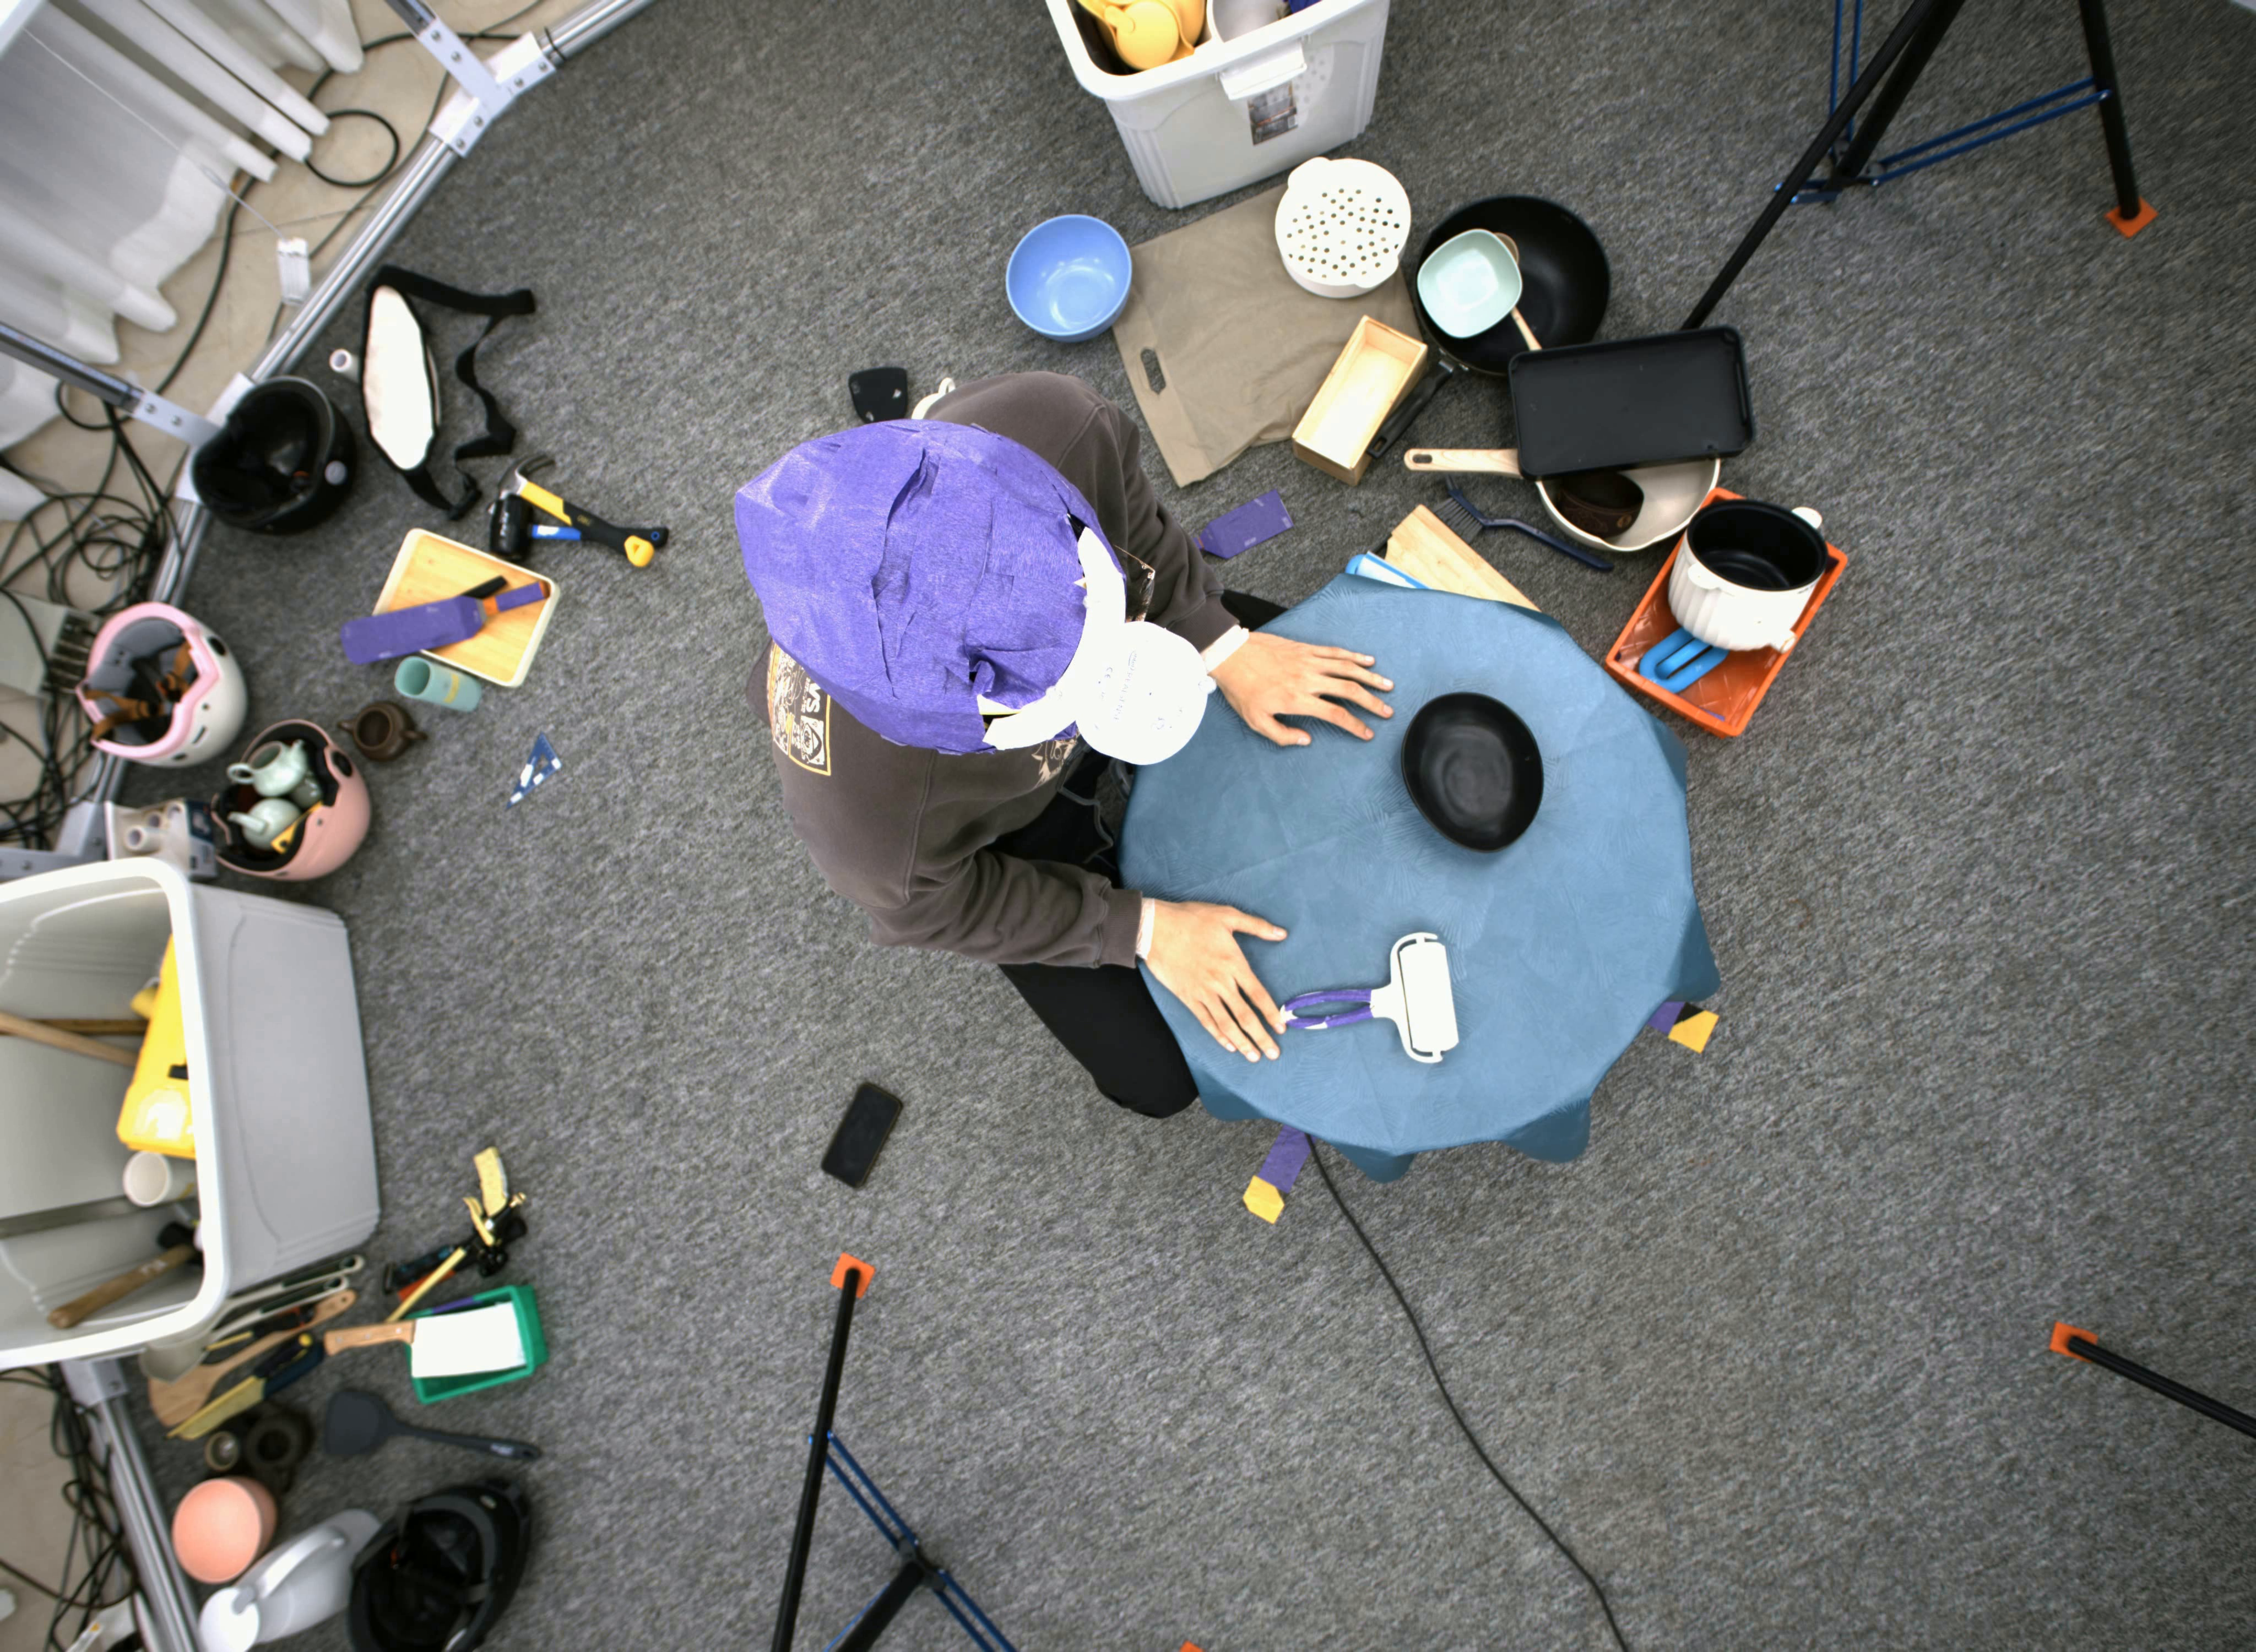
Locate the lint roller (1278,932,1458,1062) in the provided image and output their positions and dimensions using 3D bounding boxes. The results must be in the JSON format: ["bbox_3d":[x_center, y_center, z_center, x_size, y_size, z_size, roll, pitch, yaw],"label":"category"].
[{"bbox_3d":[0.245,0.181,1.433,0.181,0.050,0.132,-6,86,8],"label":"lint roller"}]

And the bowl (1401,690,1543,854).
[{"bbox_3d":[0.354,-0.057,1.416,0.138,0.066,0.169,-23,85,9],"label":"bowl"}]
